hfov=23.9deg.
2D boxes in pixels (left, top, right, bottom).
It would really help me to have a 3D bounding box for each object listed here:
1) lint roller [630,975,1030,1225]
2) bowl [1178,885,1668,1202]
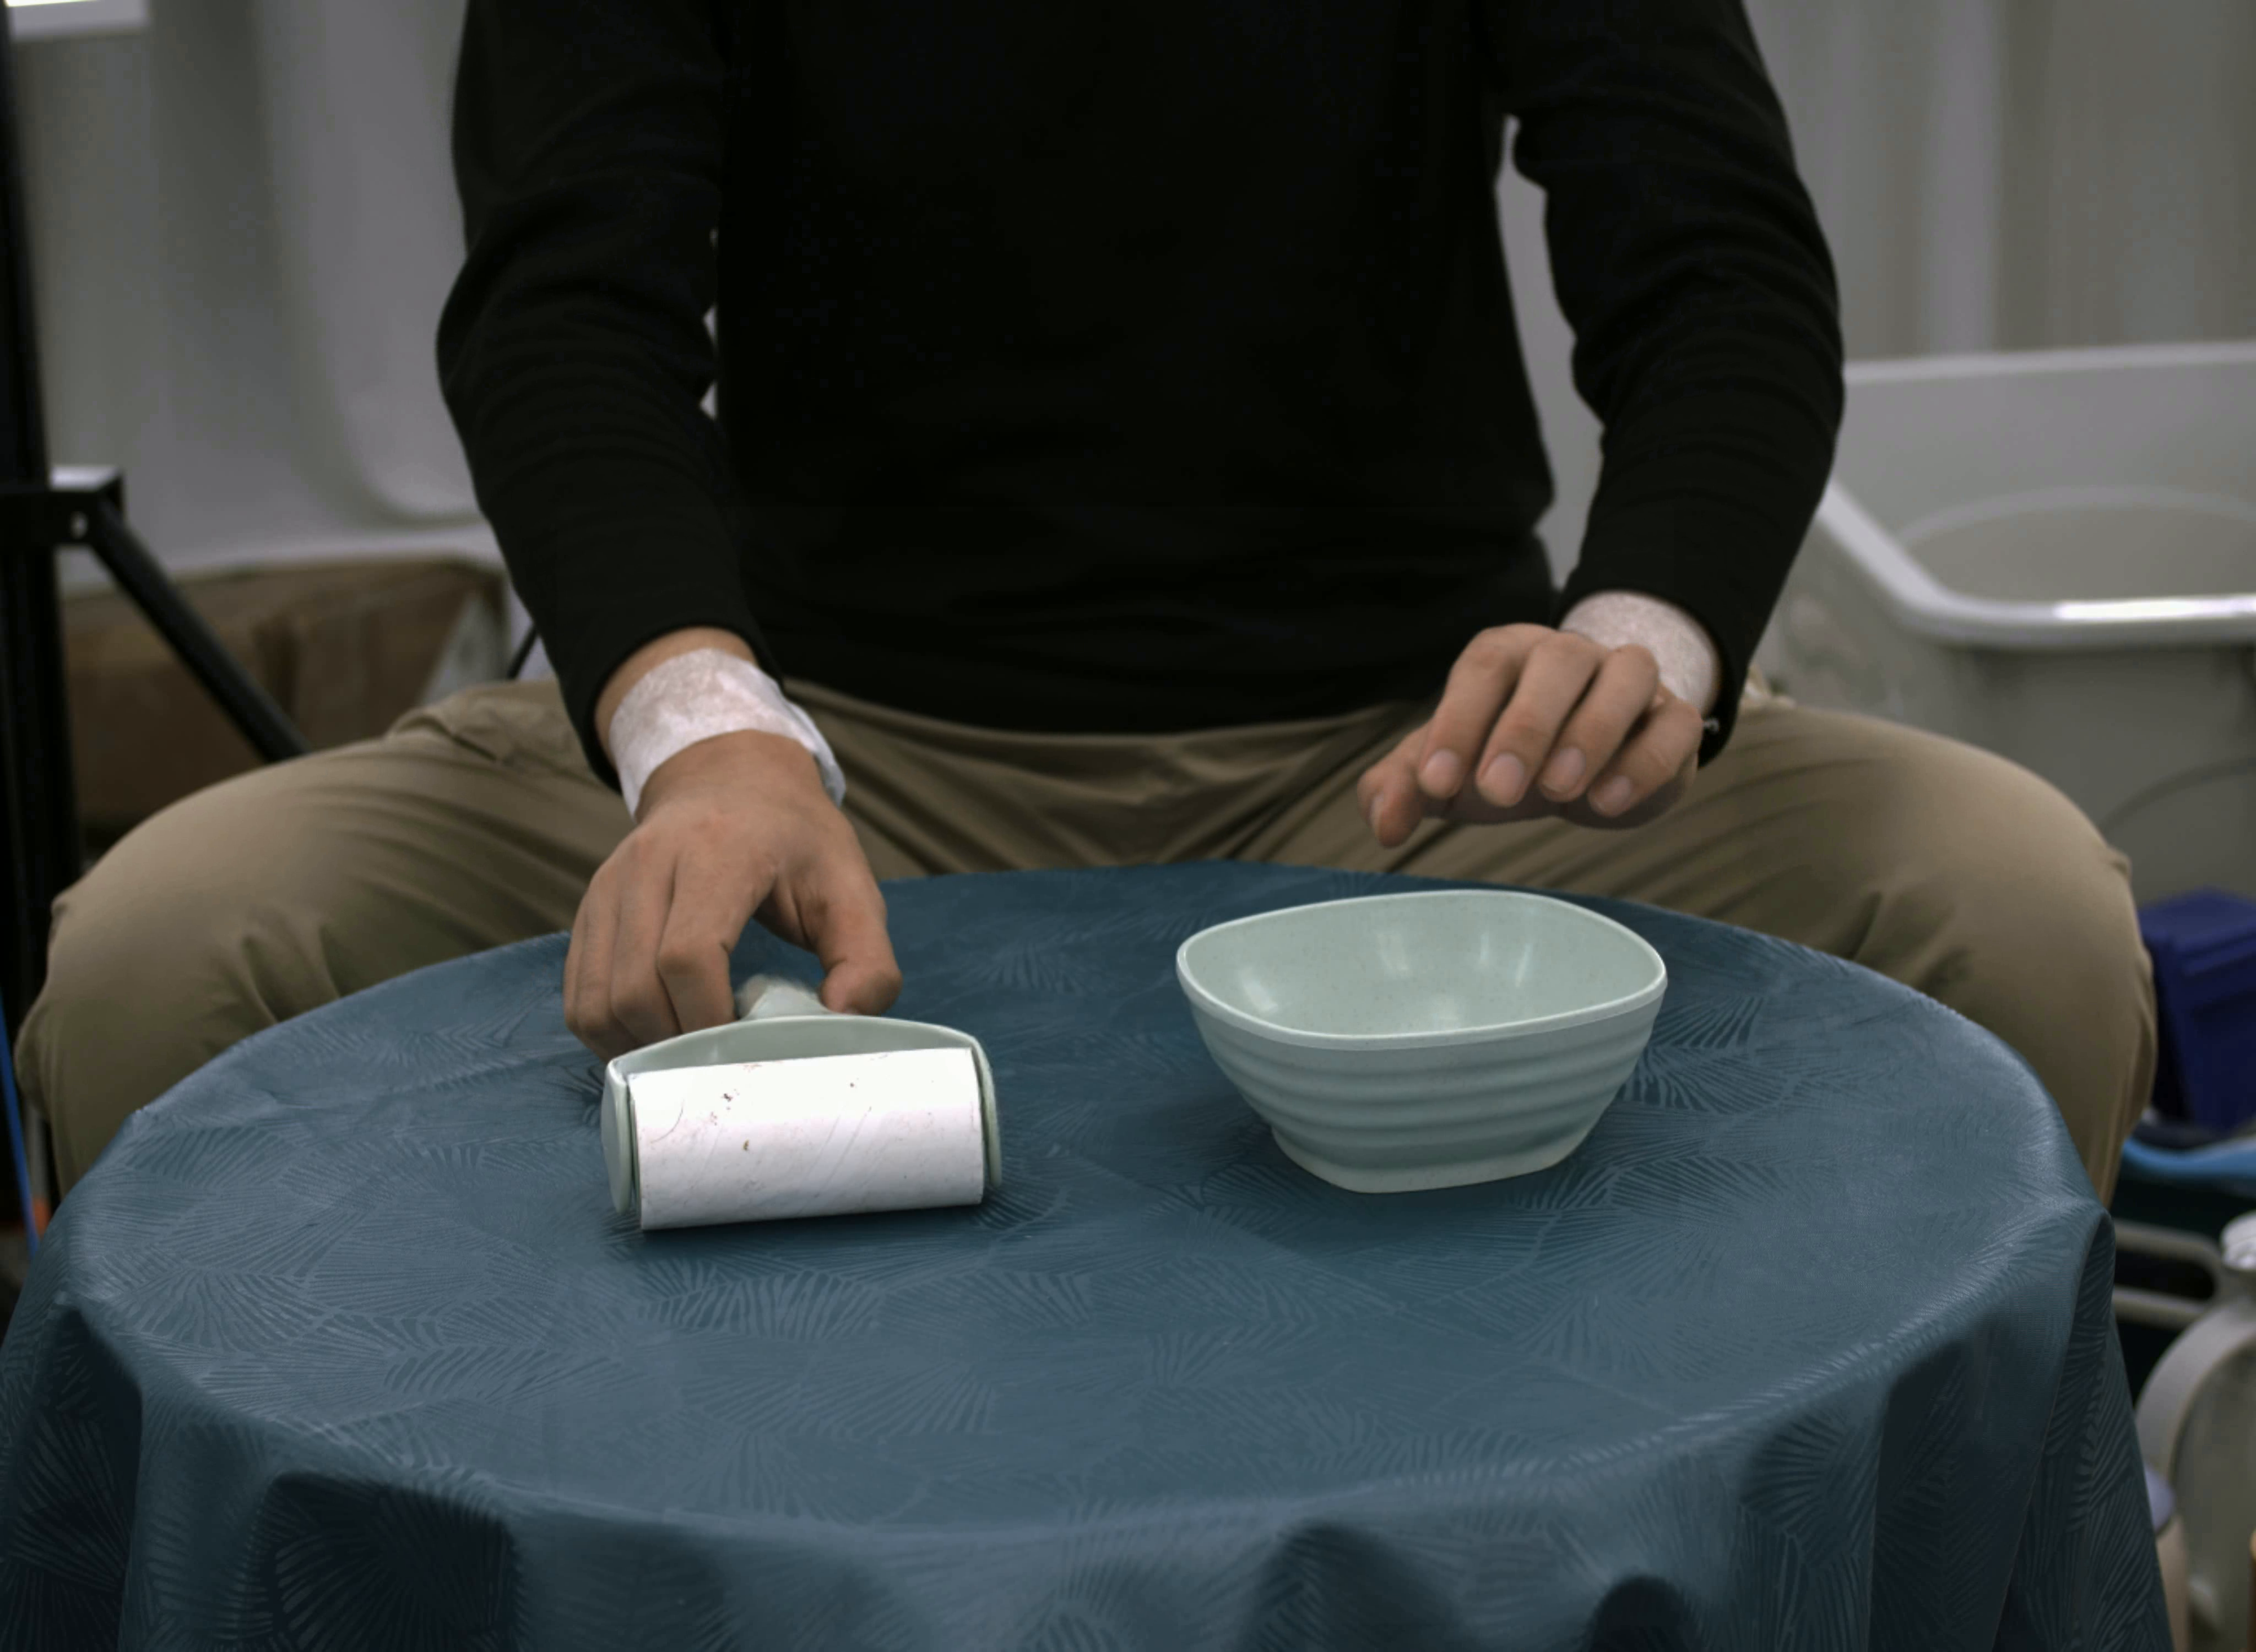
[{"bbox_3d":[-0.096,0.072,1.619,0.115,0.048,0.199,-5,14,-6],"label":"lint roller"},{"bbox_3d":[0.088,0.068,1.581,0.151,0.058,0.152,-3,17,0],"label":"bowl"}]
